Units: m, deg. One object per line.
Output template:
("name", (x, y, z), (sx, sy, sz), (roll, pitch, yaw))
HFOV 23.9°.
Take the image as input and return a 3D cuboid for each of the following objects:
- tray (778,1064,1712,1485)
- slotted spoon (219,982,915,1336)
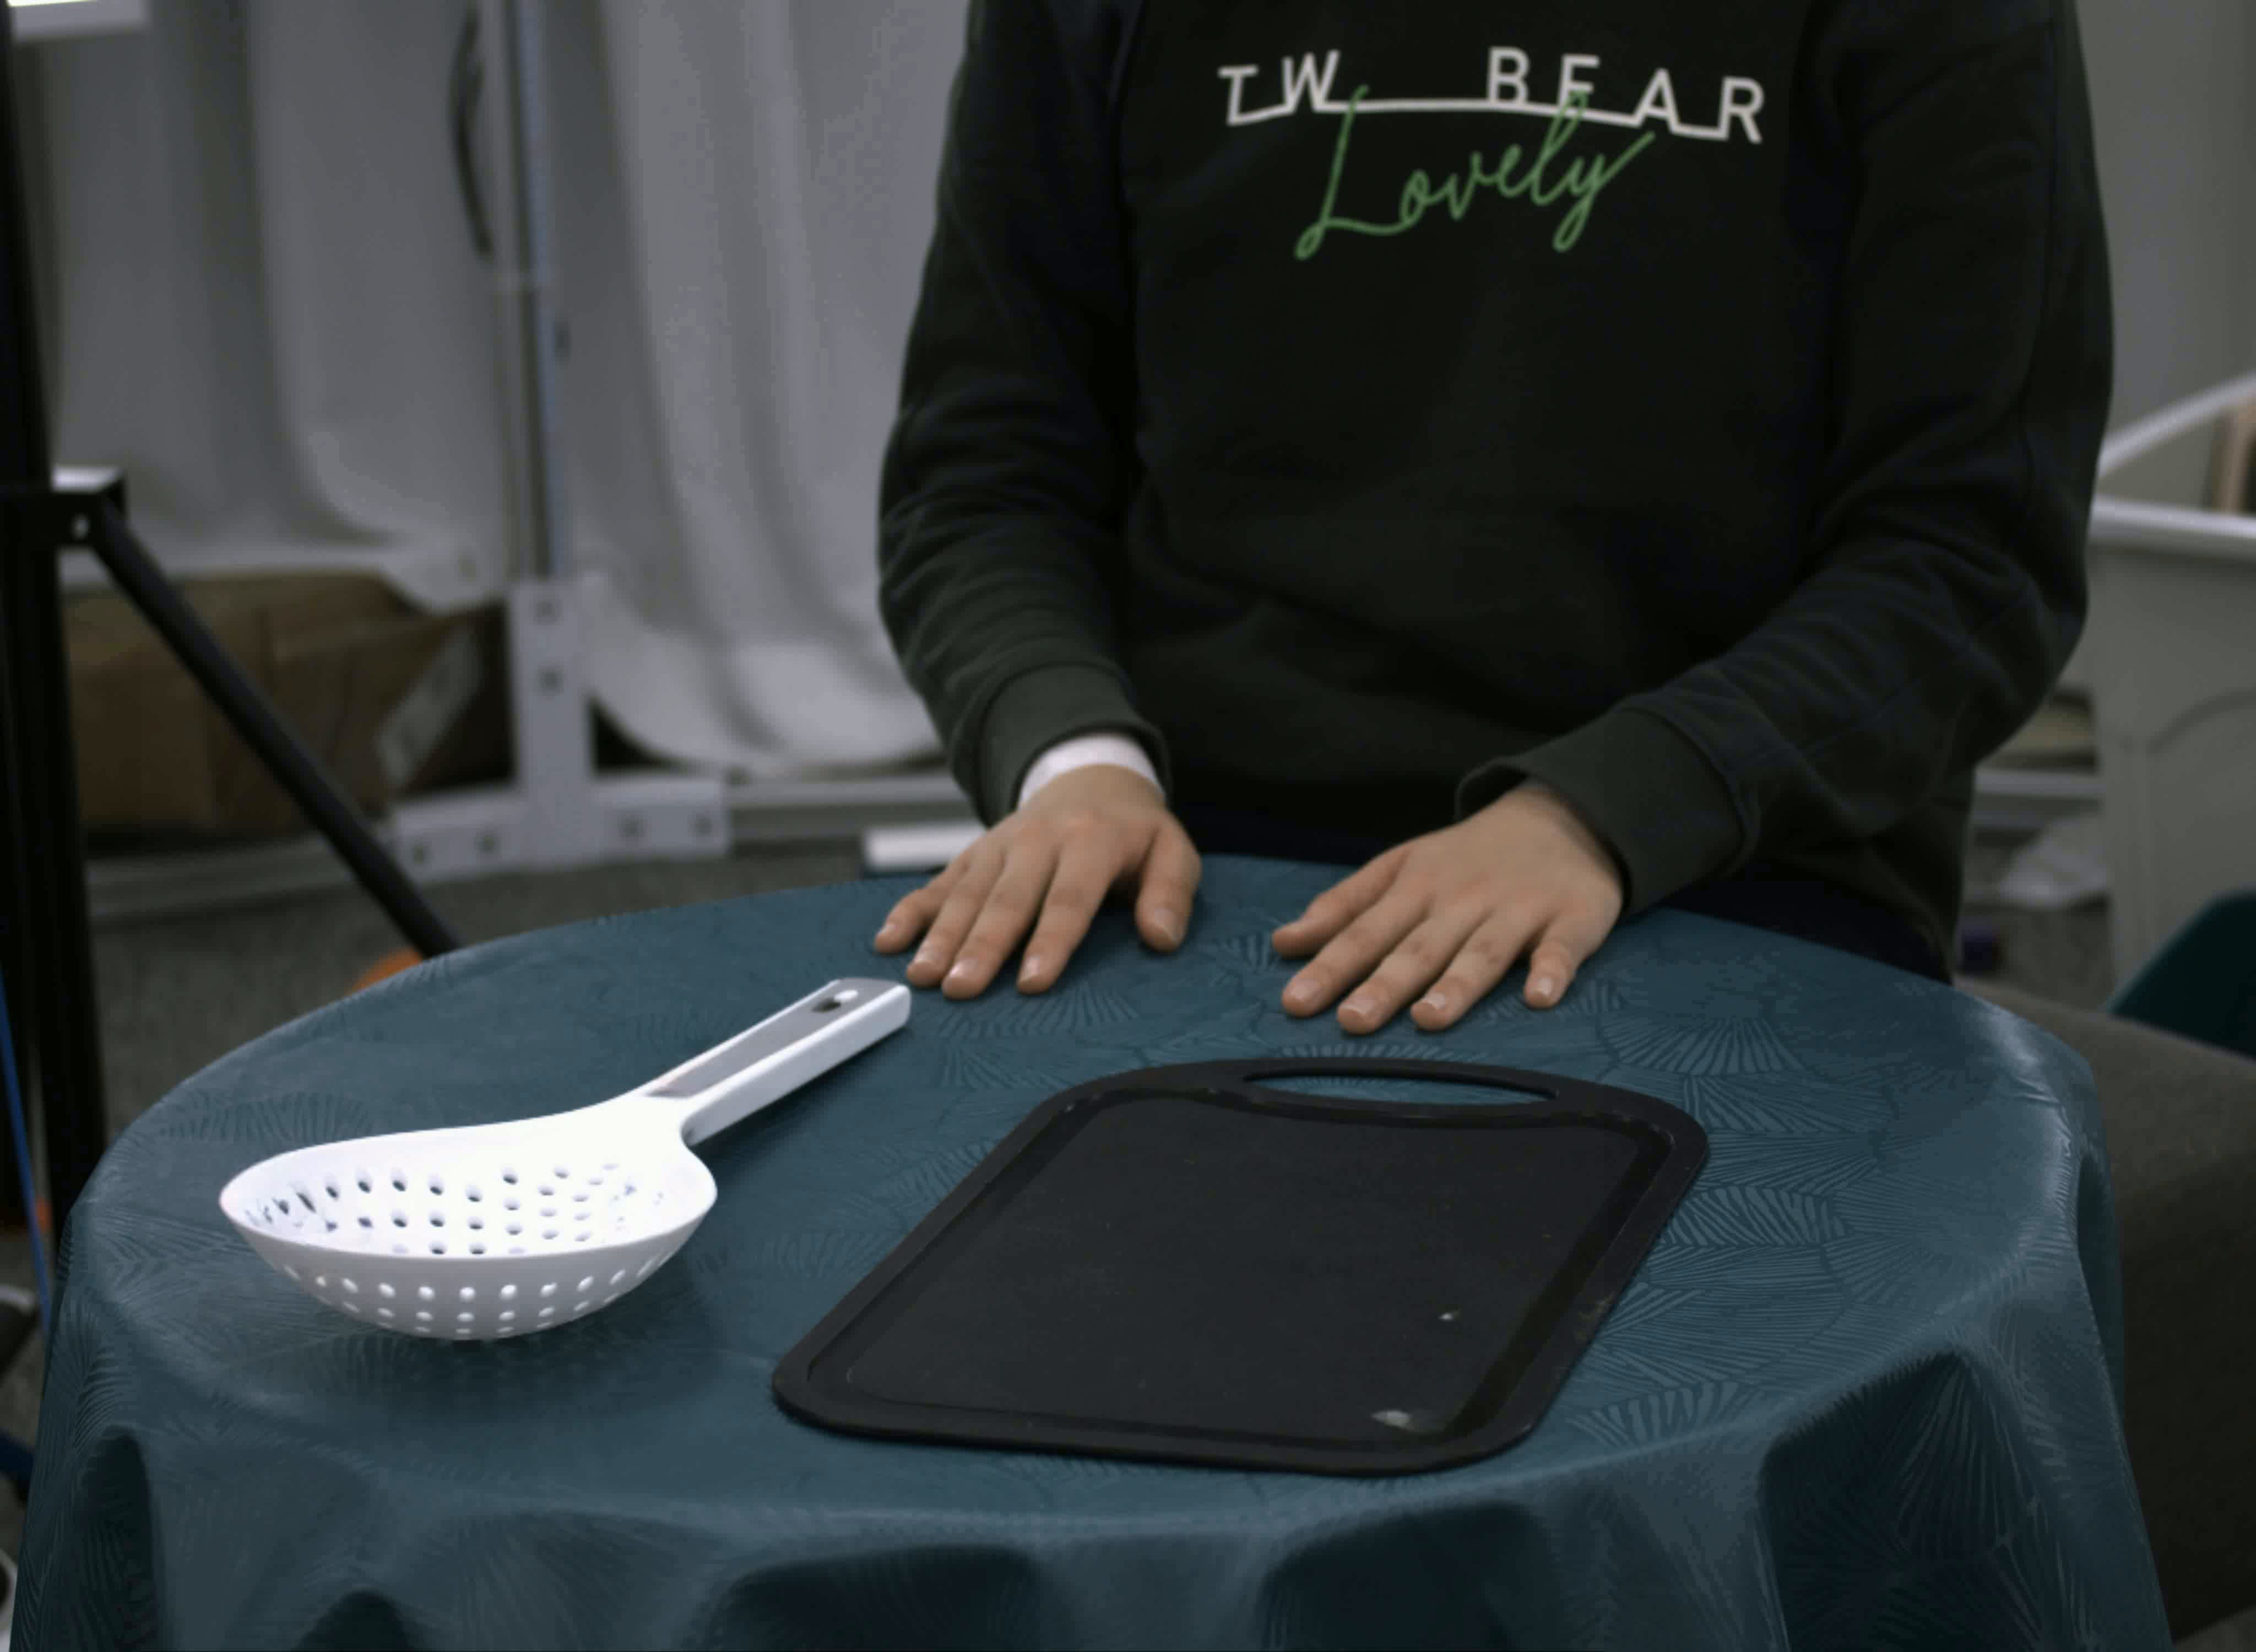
("tray", (0.042, 0.118, 1.504), (0.213, 0.010, 0.322), (3, 16, 19))
("slotted spoon", (-0.143, 0.088, 1.568), (0.138, 0.046, 0.345), (6, 17, 21))
